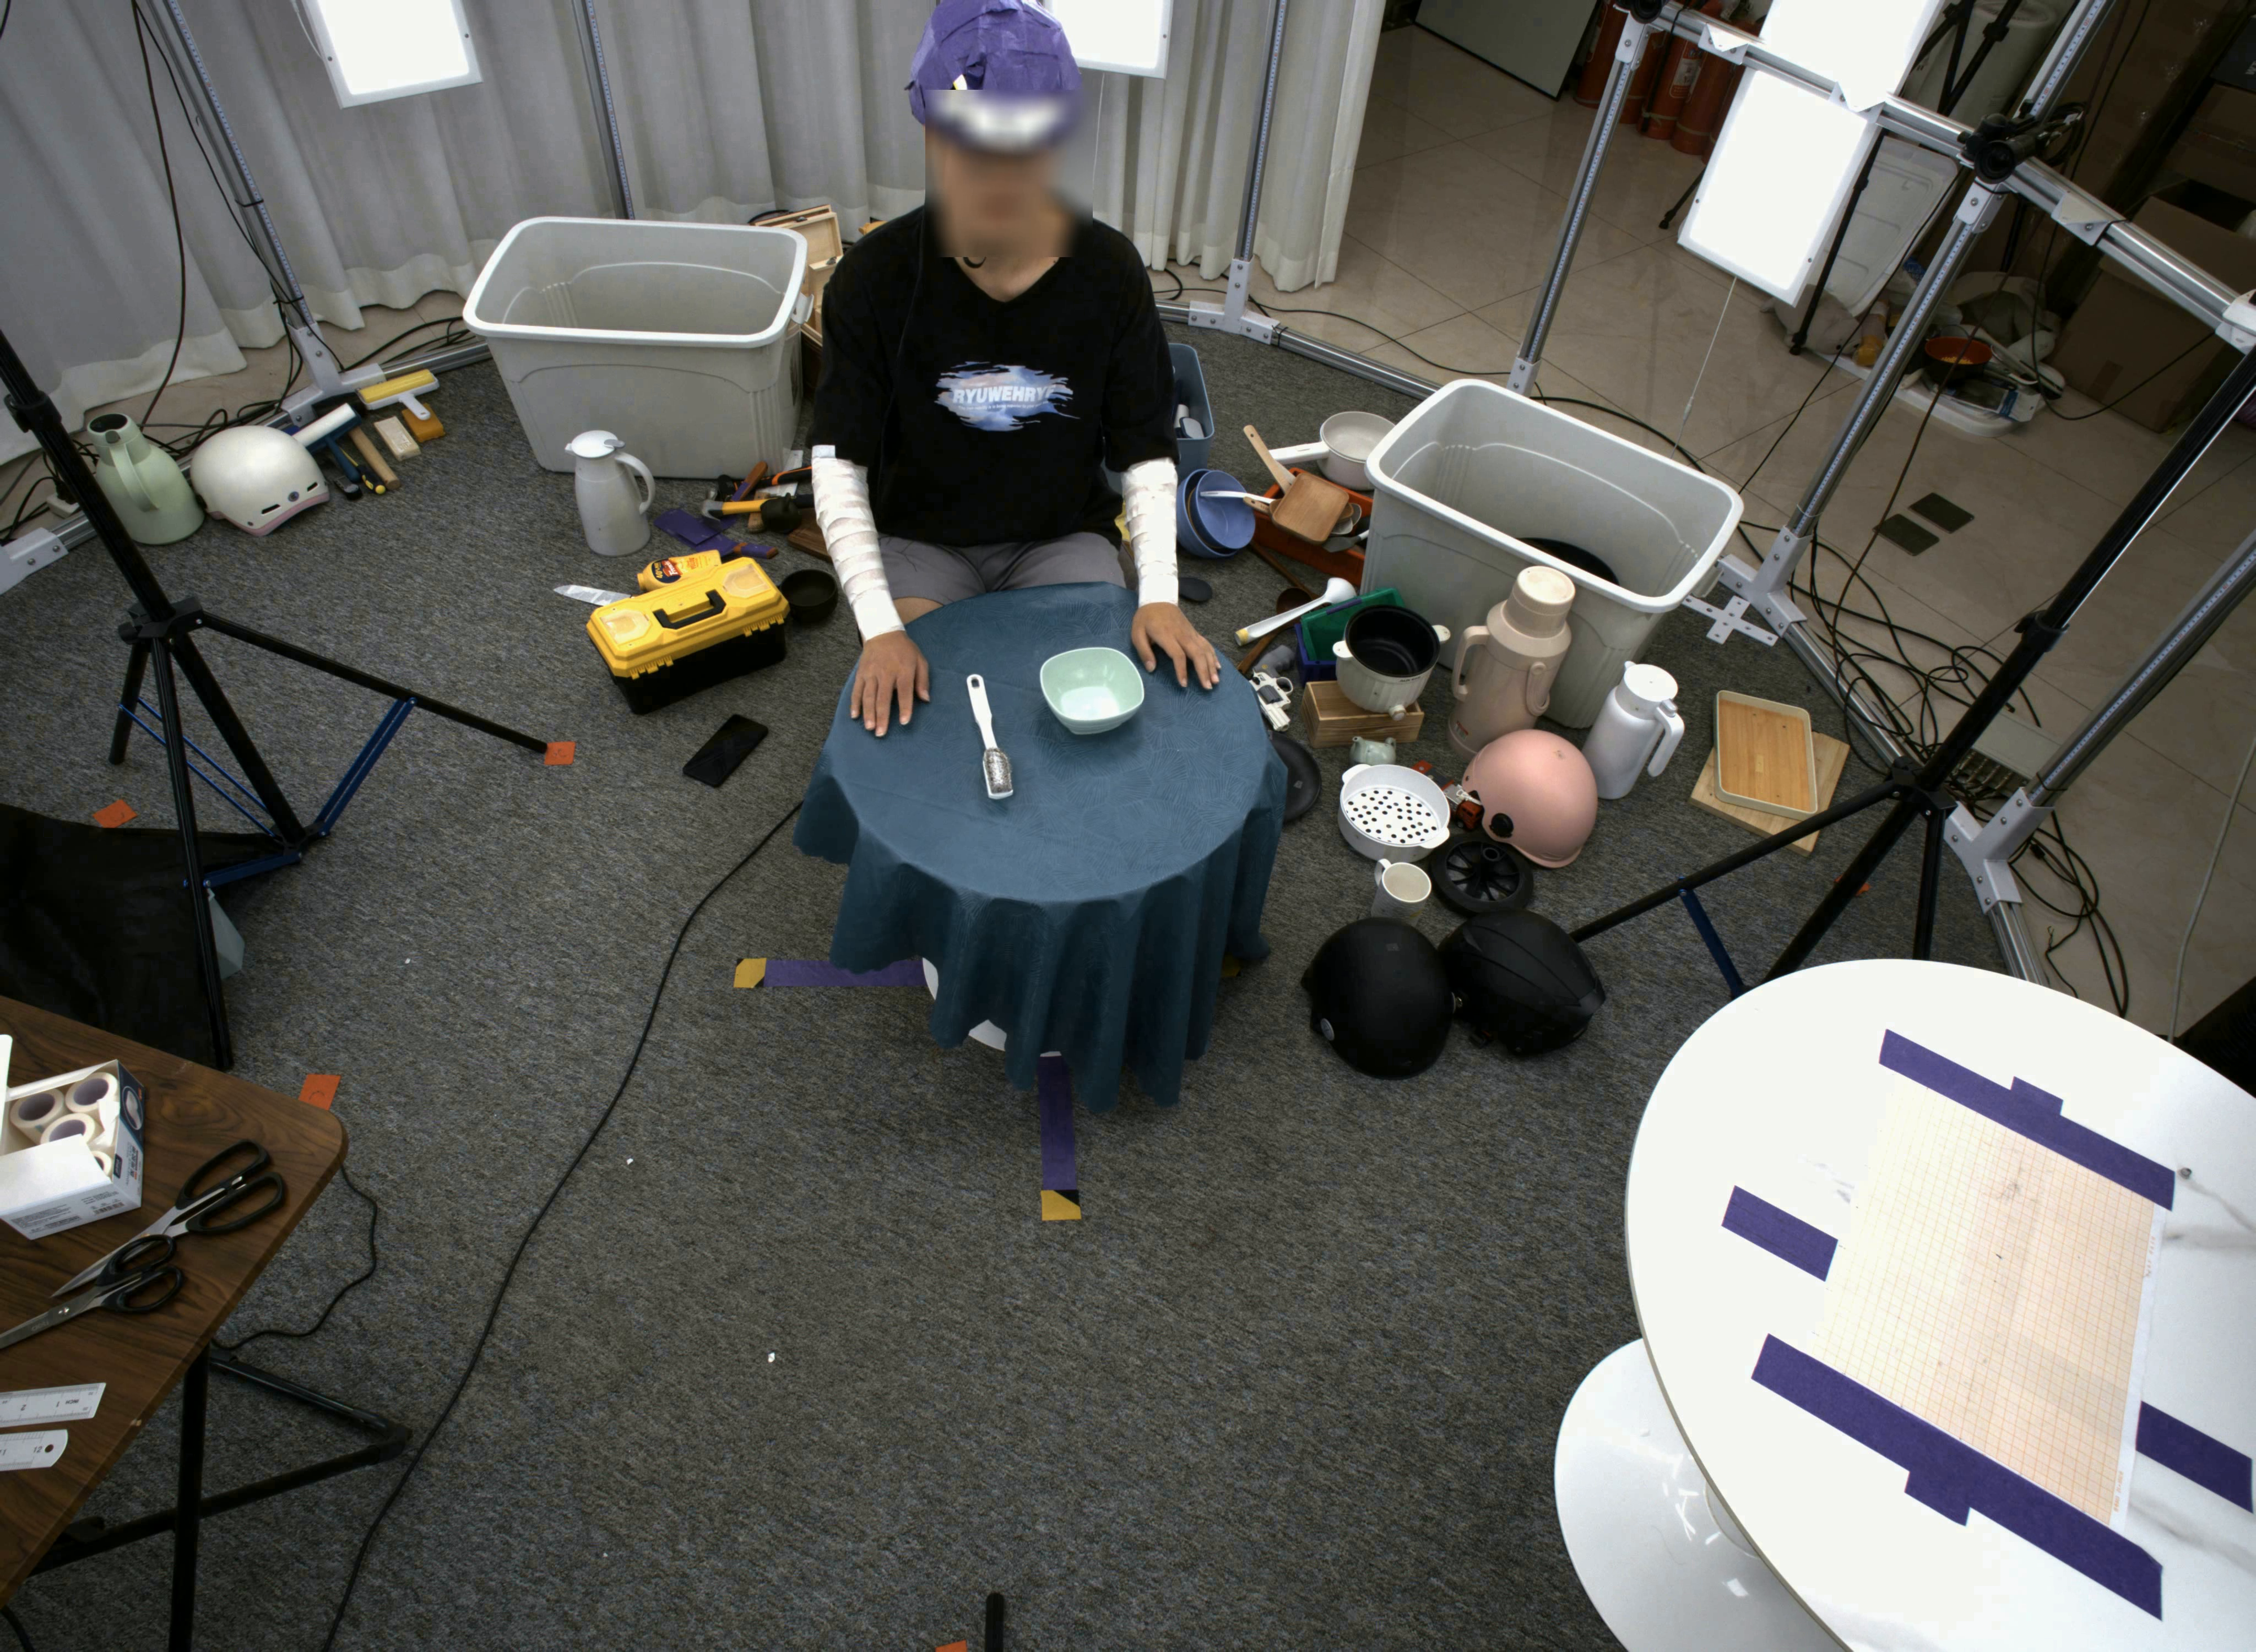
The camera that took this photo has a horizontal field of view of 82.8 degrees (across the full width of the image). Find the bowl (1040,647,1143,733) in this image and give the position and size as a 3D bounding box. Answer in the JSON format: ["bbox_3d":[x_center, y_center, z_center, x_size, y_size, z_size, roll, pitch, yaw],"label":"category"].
[{"bbox_3d":[-0.052,-0.181,1.790,0.151,0.057,0.155,3,49,-3],"label":"bowl"}]

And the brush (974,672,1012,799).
[{"bbox_3d":[-0.188,-0.137,1.748,0.034,0.049,0.250,-7,51,-7],"label":"brush"}]
